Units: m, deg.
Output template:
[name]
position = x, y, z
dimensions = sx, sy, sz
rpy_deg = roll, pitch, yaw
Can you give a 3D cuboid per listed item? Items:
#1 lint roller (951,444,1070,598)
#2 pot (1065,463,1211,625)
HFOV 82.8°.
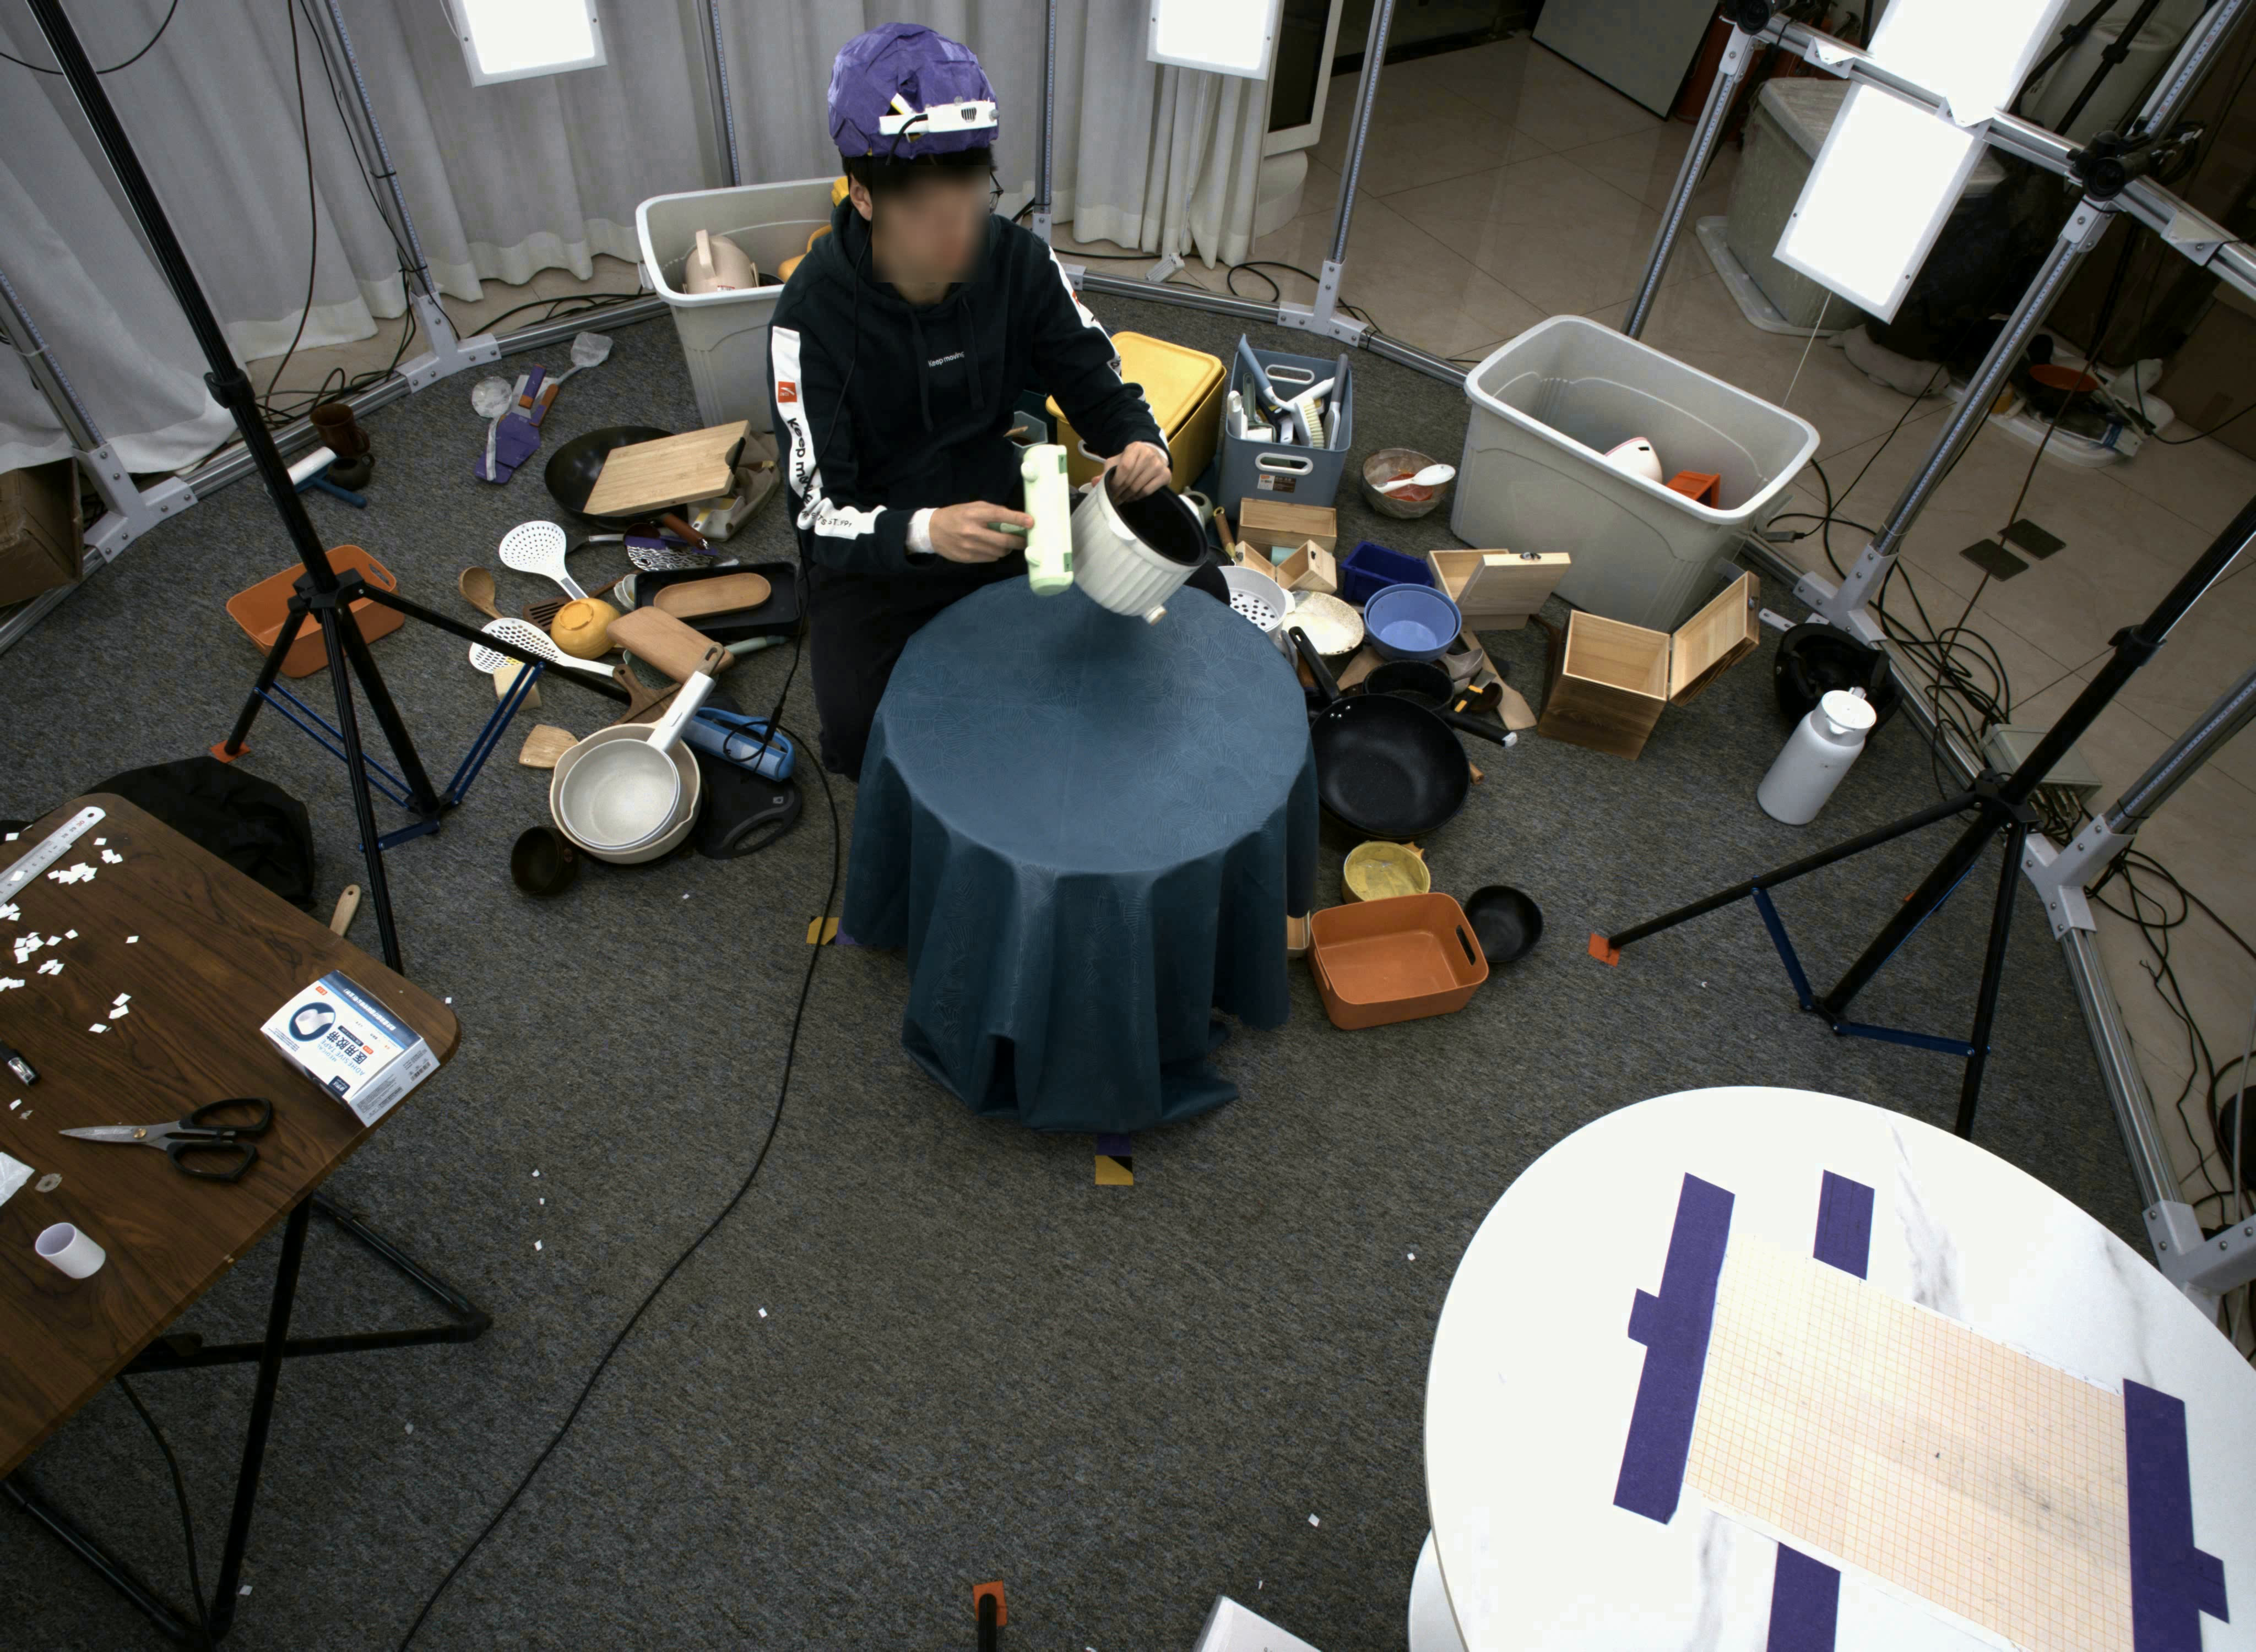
[lint roller]
position = -0.165, -0.398, 1.712
dimensions = 0.183, 0.081, 0.200
rpy_deg = -7, 79, 19
[pot]
position = 0.008, -0.388, 1.797
dimensions = 0.191, 0.140, 0.243
rpy_deg = 46, 36, 5
